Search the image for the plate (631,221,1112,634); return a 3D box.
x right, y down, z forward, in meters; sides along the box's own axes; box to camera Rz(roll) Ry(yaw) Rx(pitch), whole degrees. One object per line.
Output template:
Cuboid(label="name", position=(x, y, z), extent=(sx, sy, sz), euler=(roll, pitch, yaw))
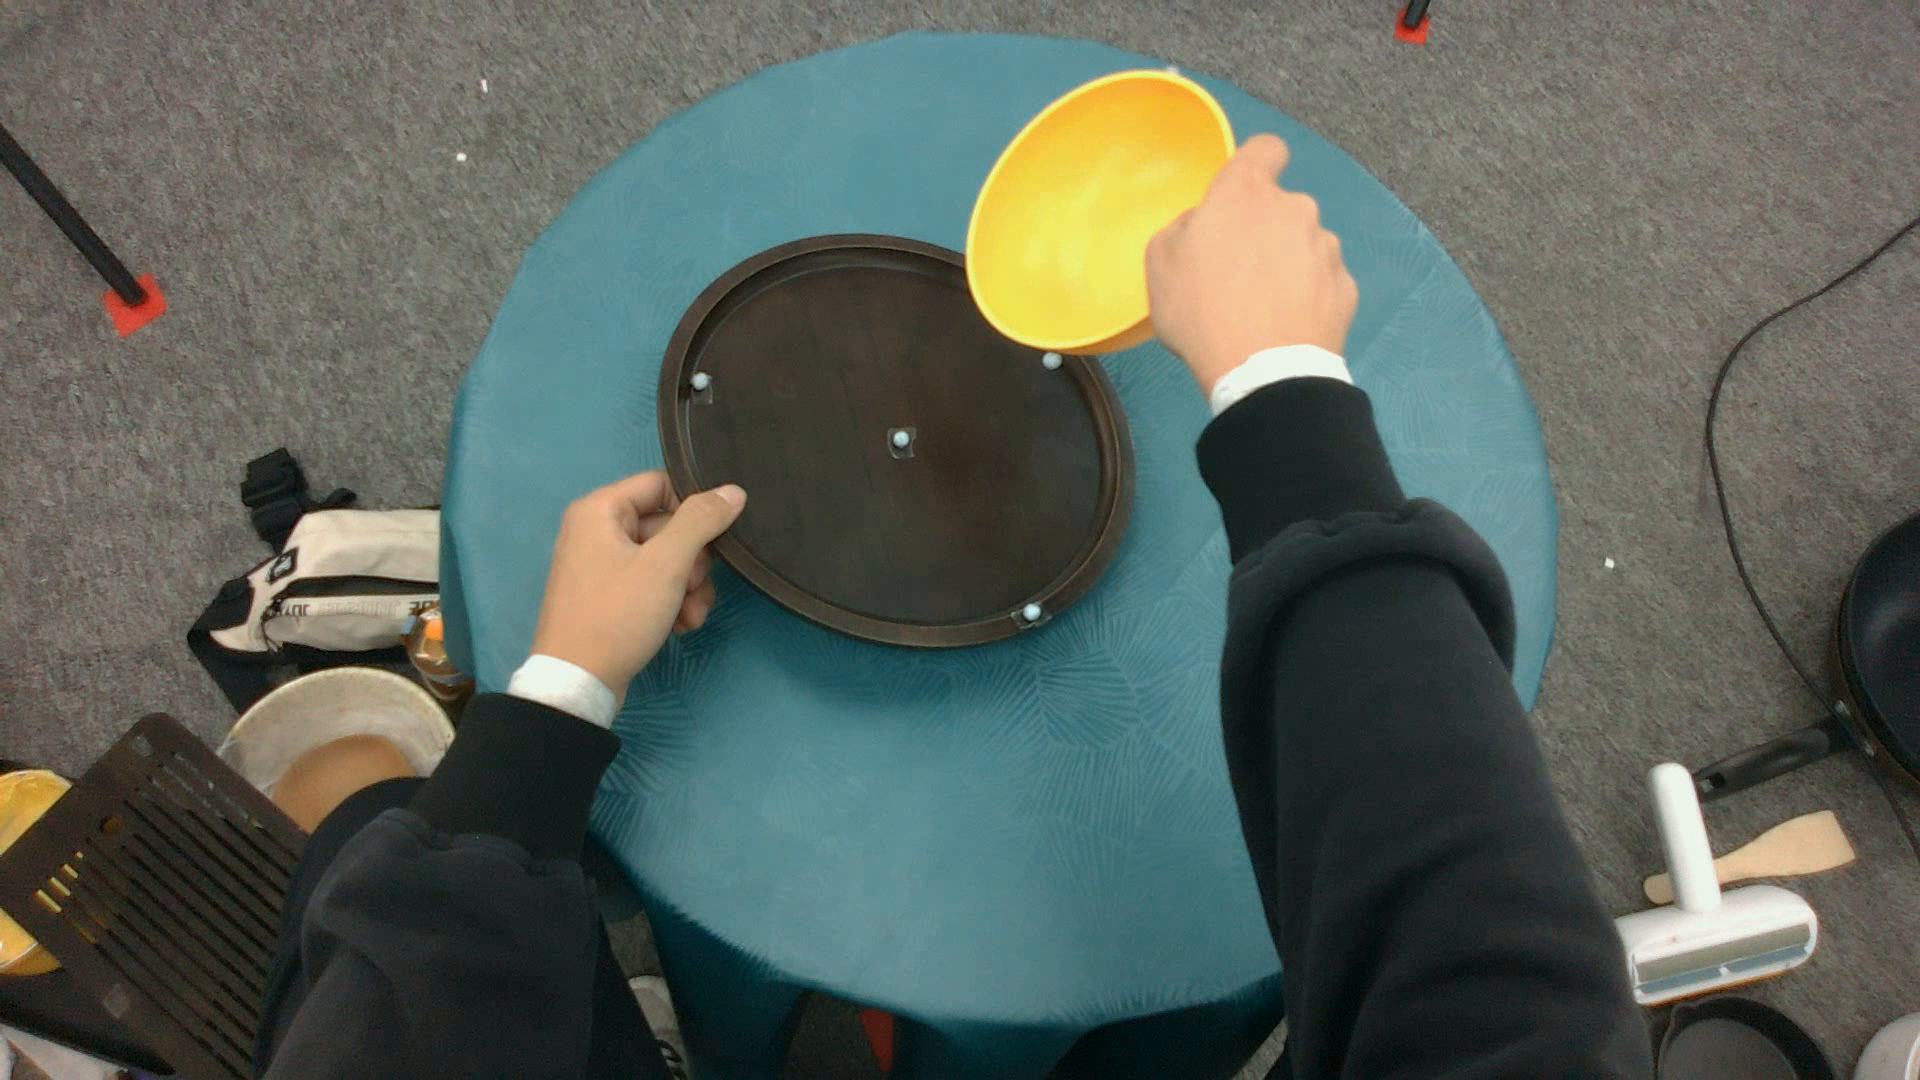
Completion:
Cuboid(label="plate", position=(-0.041, -0.064, 0.711), extent=(0.255, 0.029, 0.256), euler=(10, 58, -16))

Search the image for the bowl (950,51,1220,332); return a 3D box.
Cuboid(label="bowl", position=(0.069, -0.159, 0.672), extent=(0.145, 0.060, 0.146), euler=(-15, 63, 31))
